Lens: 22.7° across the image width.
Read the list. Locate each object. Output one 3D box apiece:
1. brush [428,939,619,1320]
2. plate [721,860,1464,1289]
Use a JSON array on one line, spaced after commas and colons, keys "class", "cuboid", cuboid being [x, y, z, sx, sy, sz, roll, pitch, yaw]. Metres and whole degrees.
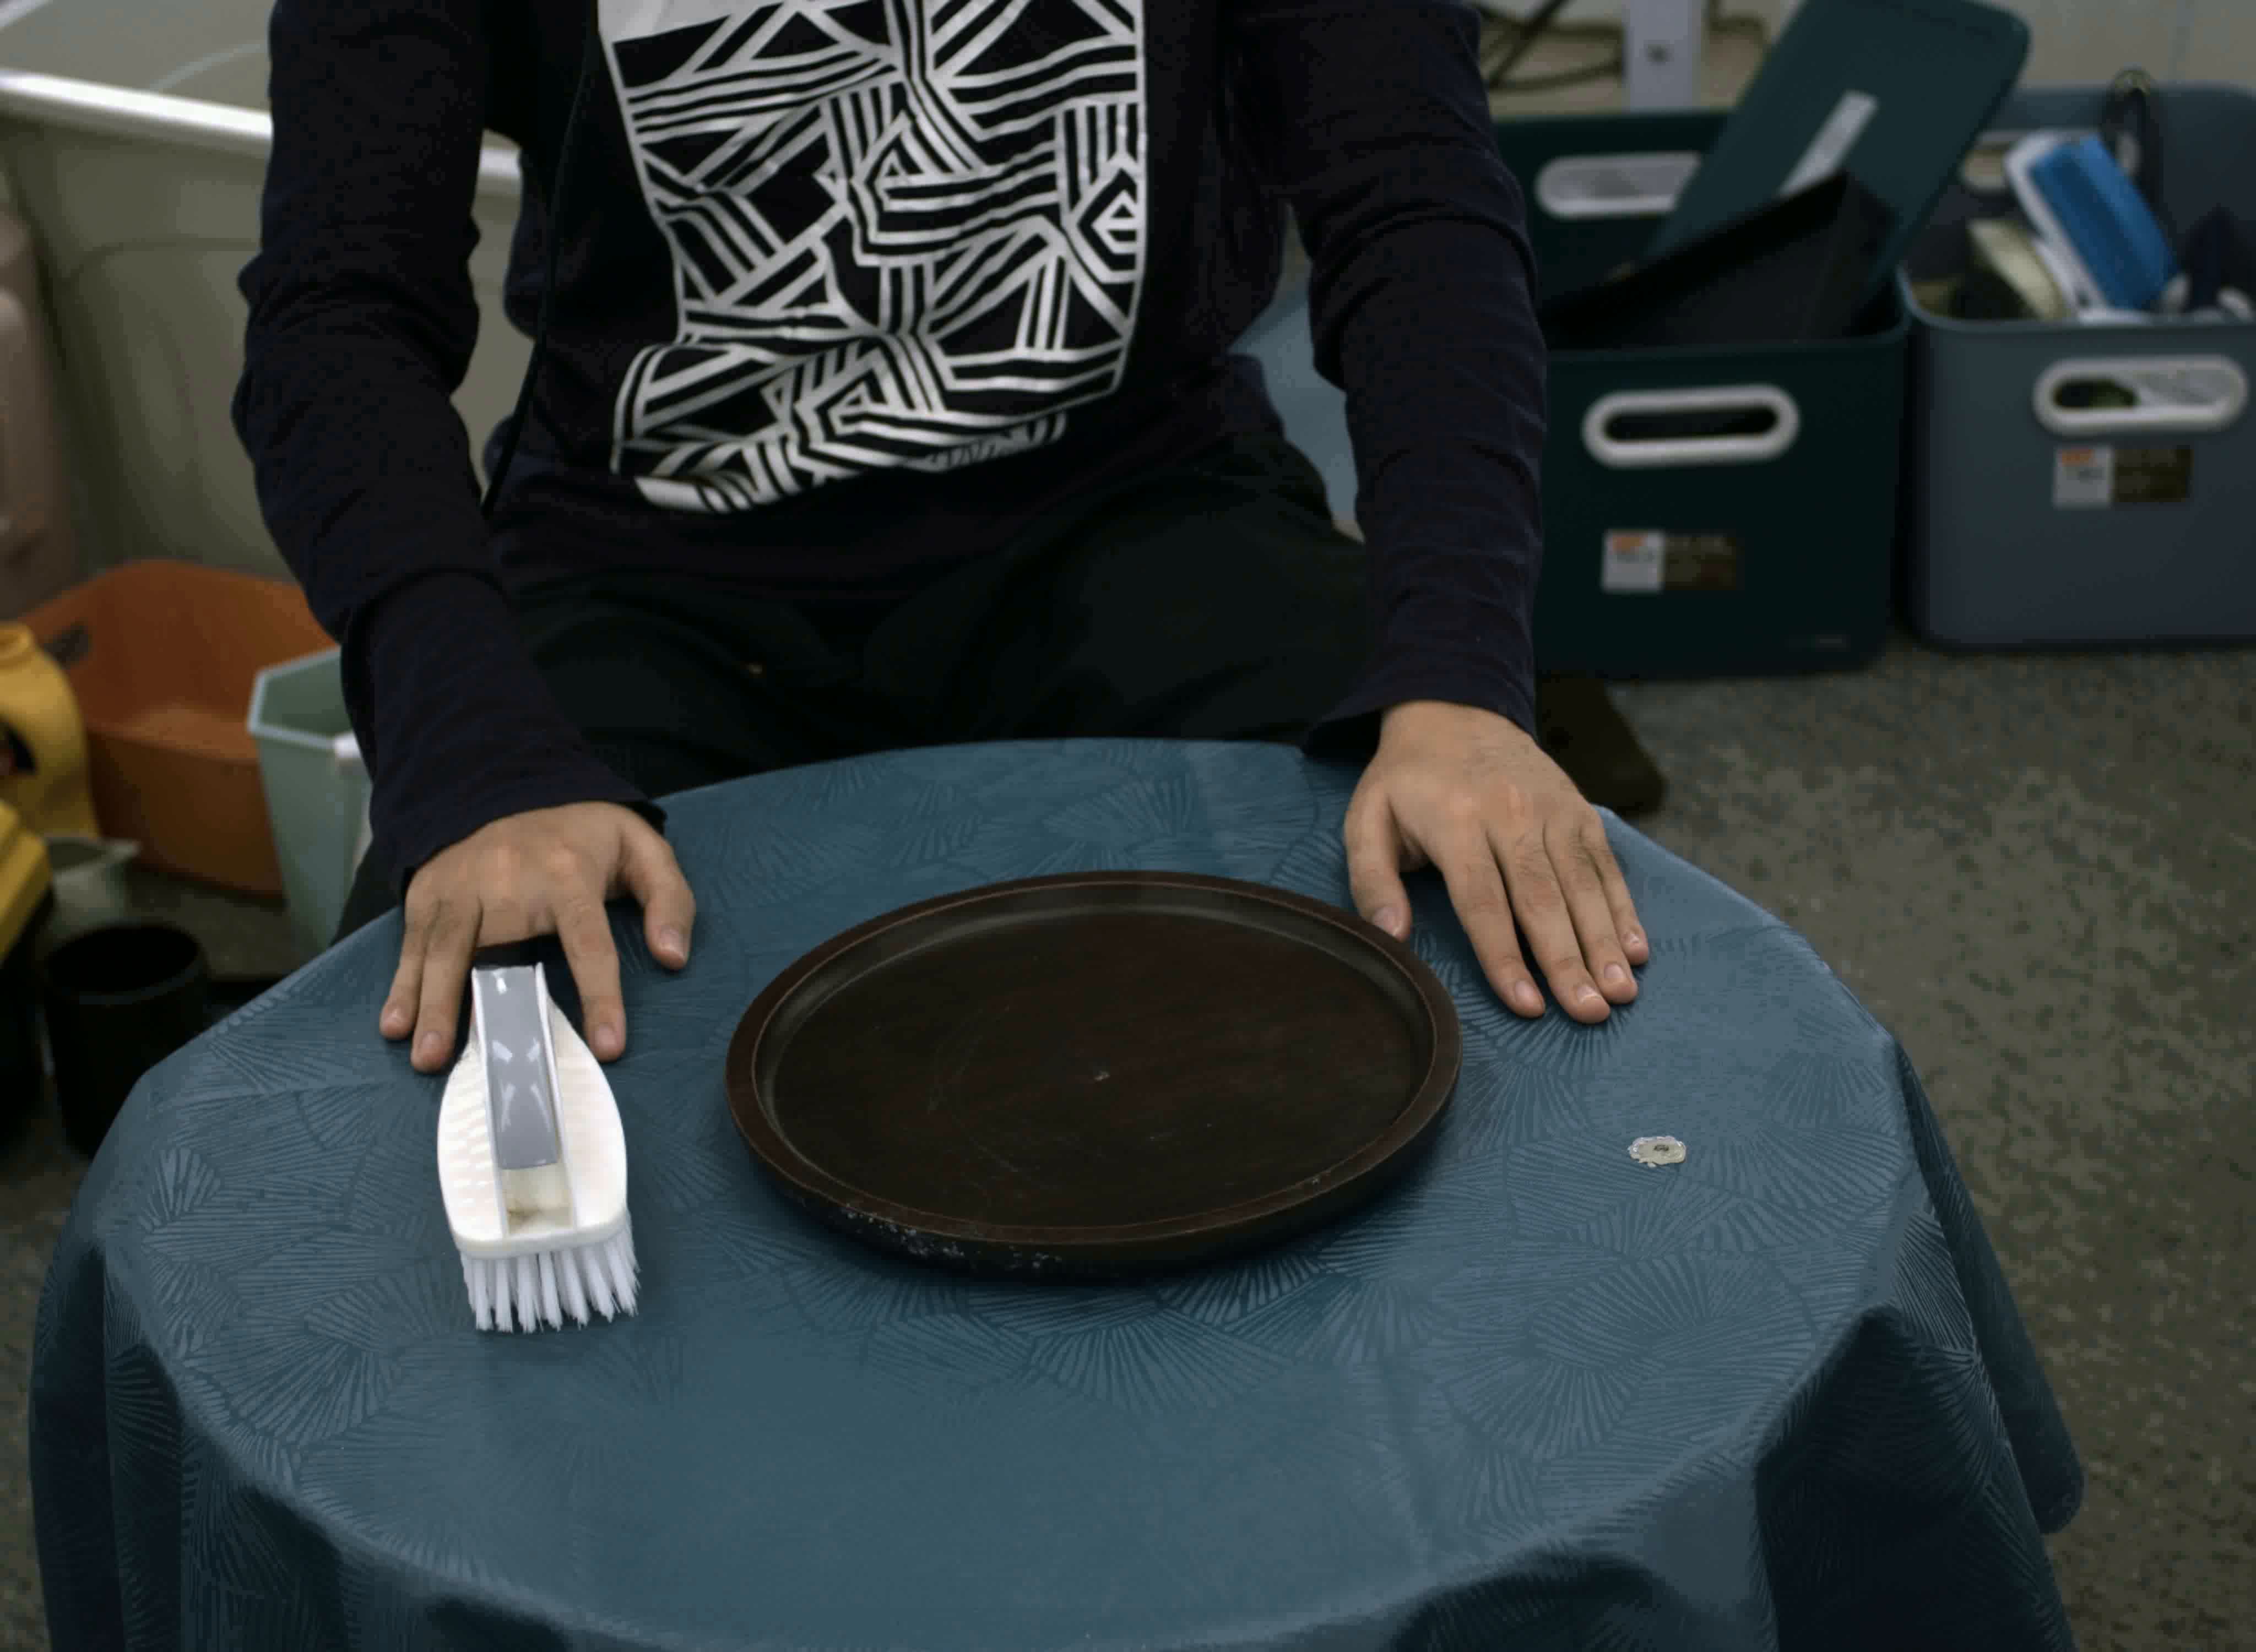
[{"class": "brush", "cuboid": [-0.202, 0.085, 1.852, 0.061, 0.093, 0.177, -5, 25, -7]}, {"class": "plate", "cuboid": [-0.012, 0.085, 1.908, 0.253, 0.029, 0.259, -2, 28, 1]}]
